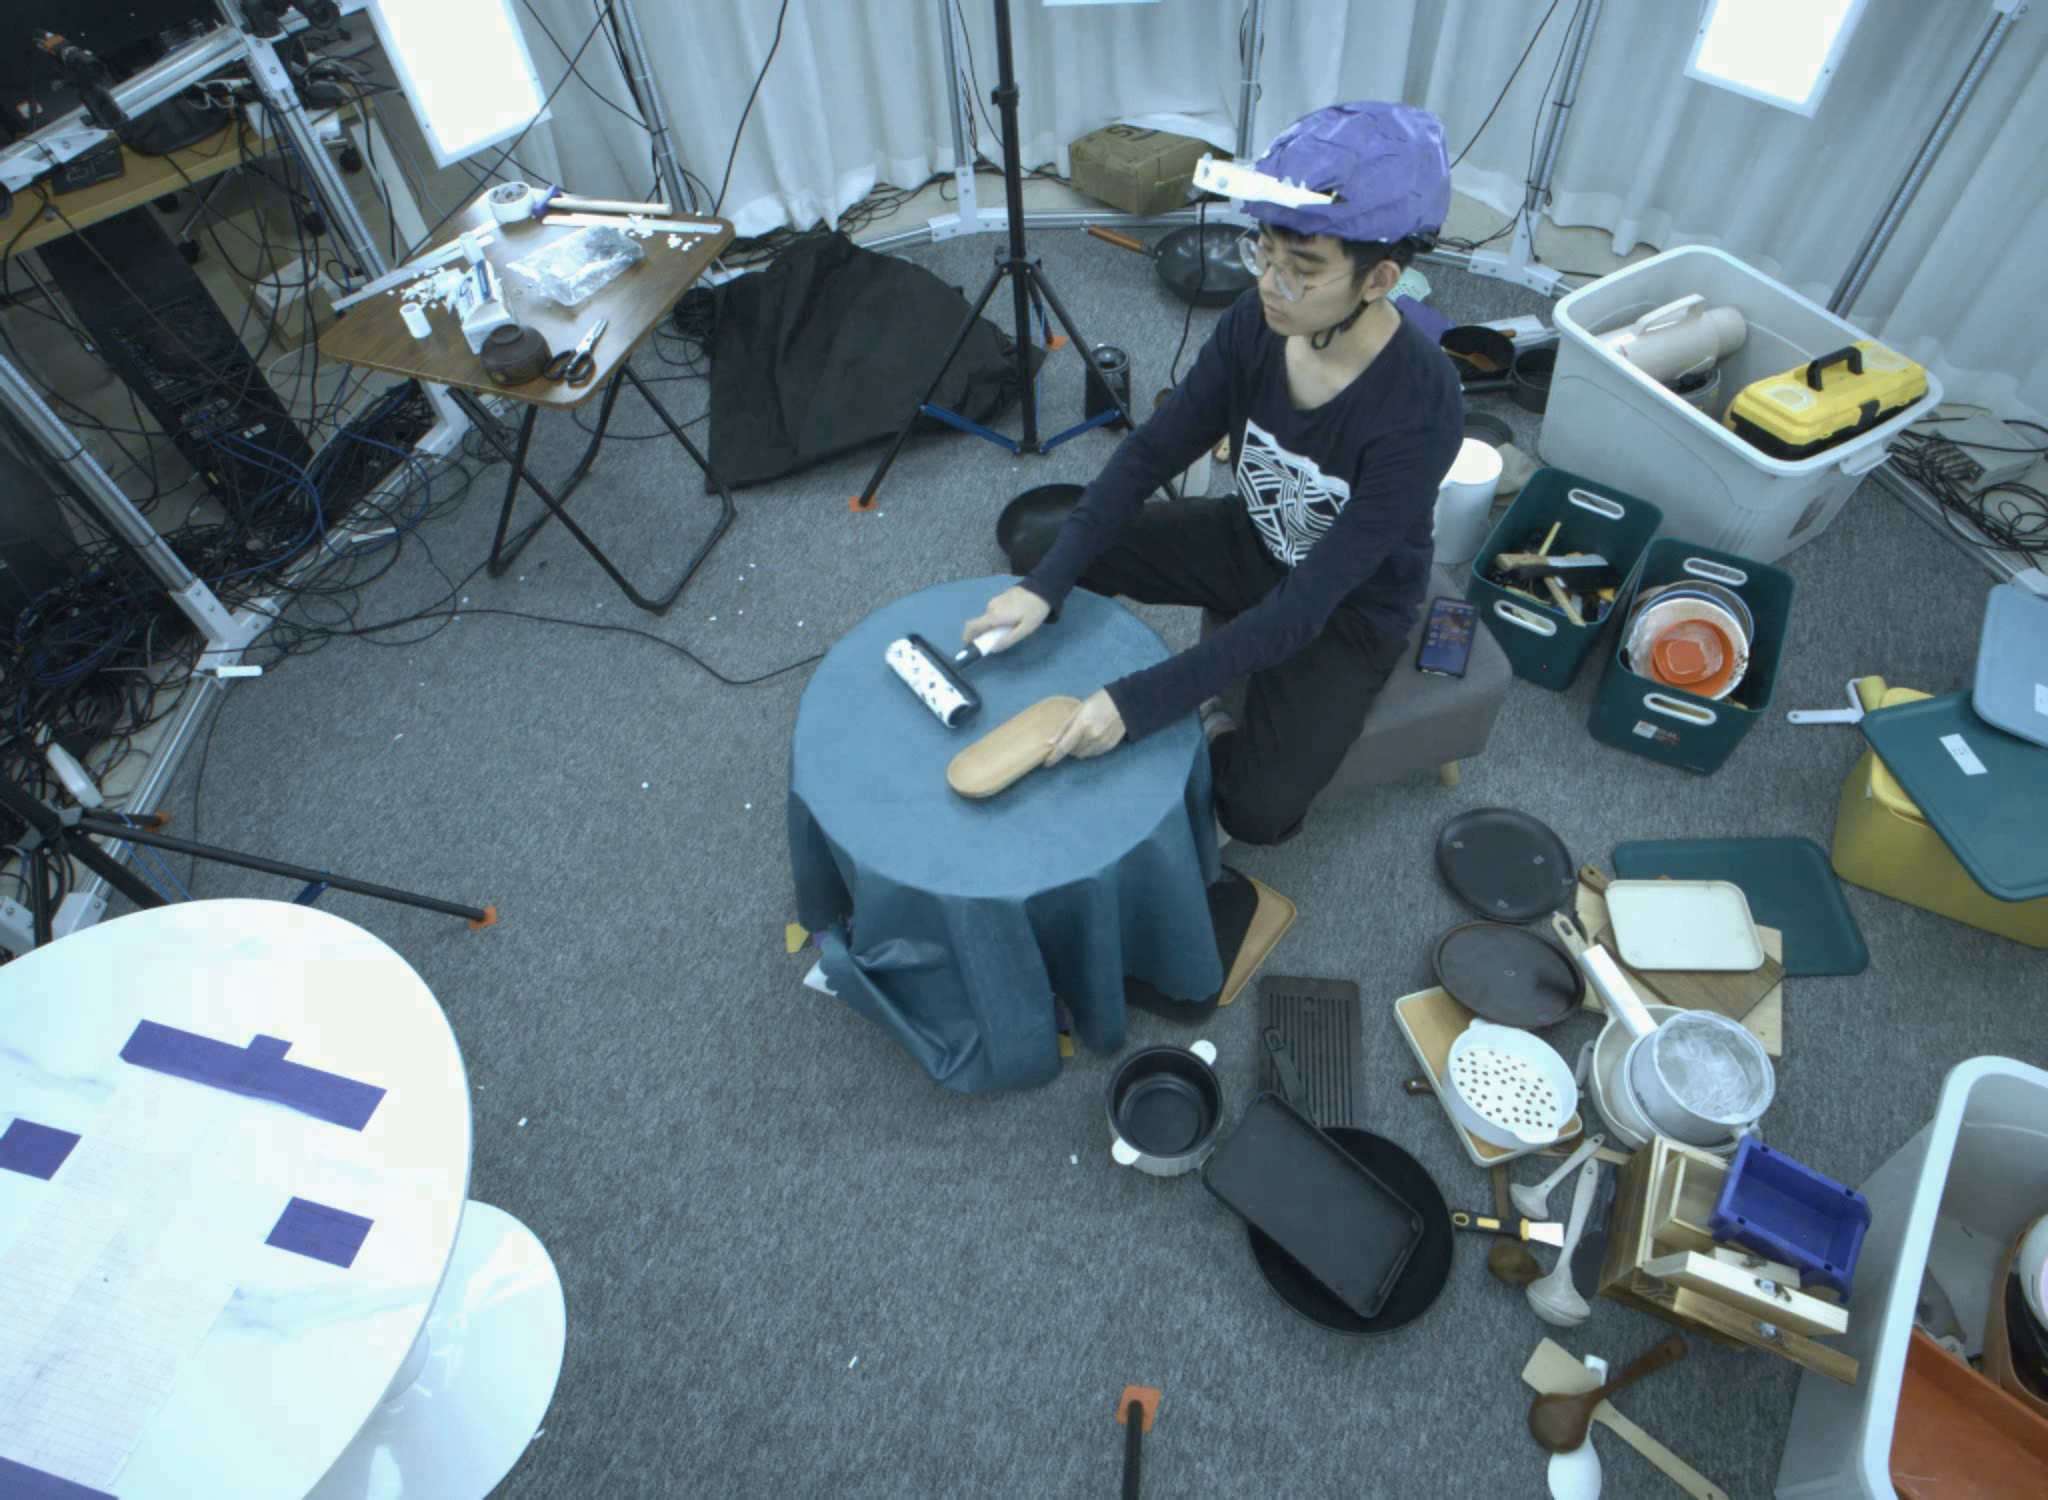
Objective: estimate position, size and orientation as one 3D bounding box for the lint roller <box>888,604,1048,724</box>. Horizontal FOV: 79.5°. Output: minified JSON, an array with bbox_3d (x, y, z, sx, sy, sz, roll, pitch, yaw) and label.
[{"bbox_3d":[-0.065,-0.160,1.870,0.248,0.051,0.173,-36,60,-17],"label":"lint roller"}]

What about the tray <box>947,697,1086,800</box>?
[{"bbox_3d":[-0.009,-0.003,1.772,0.233,0.020,0.099,-36,43,-19],"label":"tray"}]
